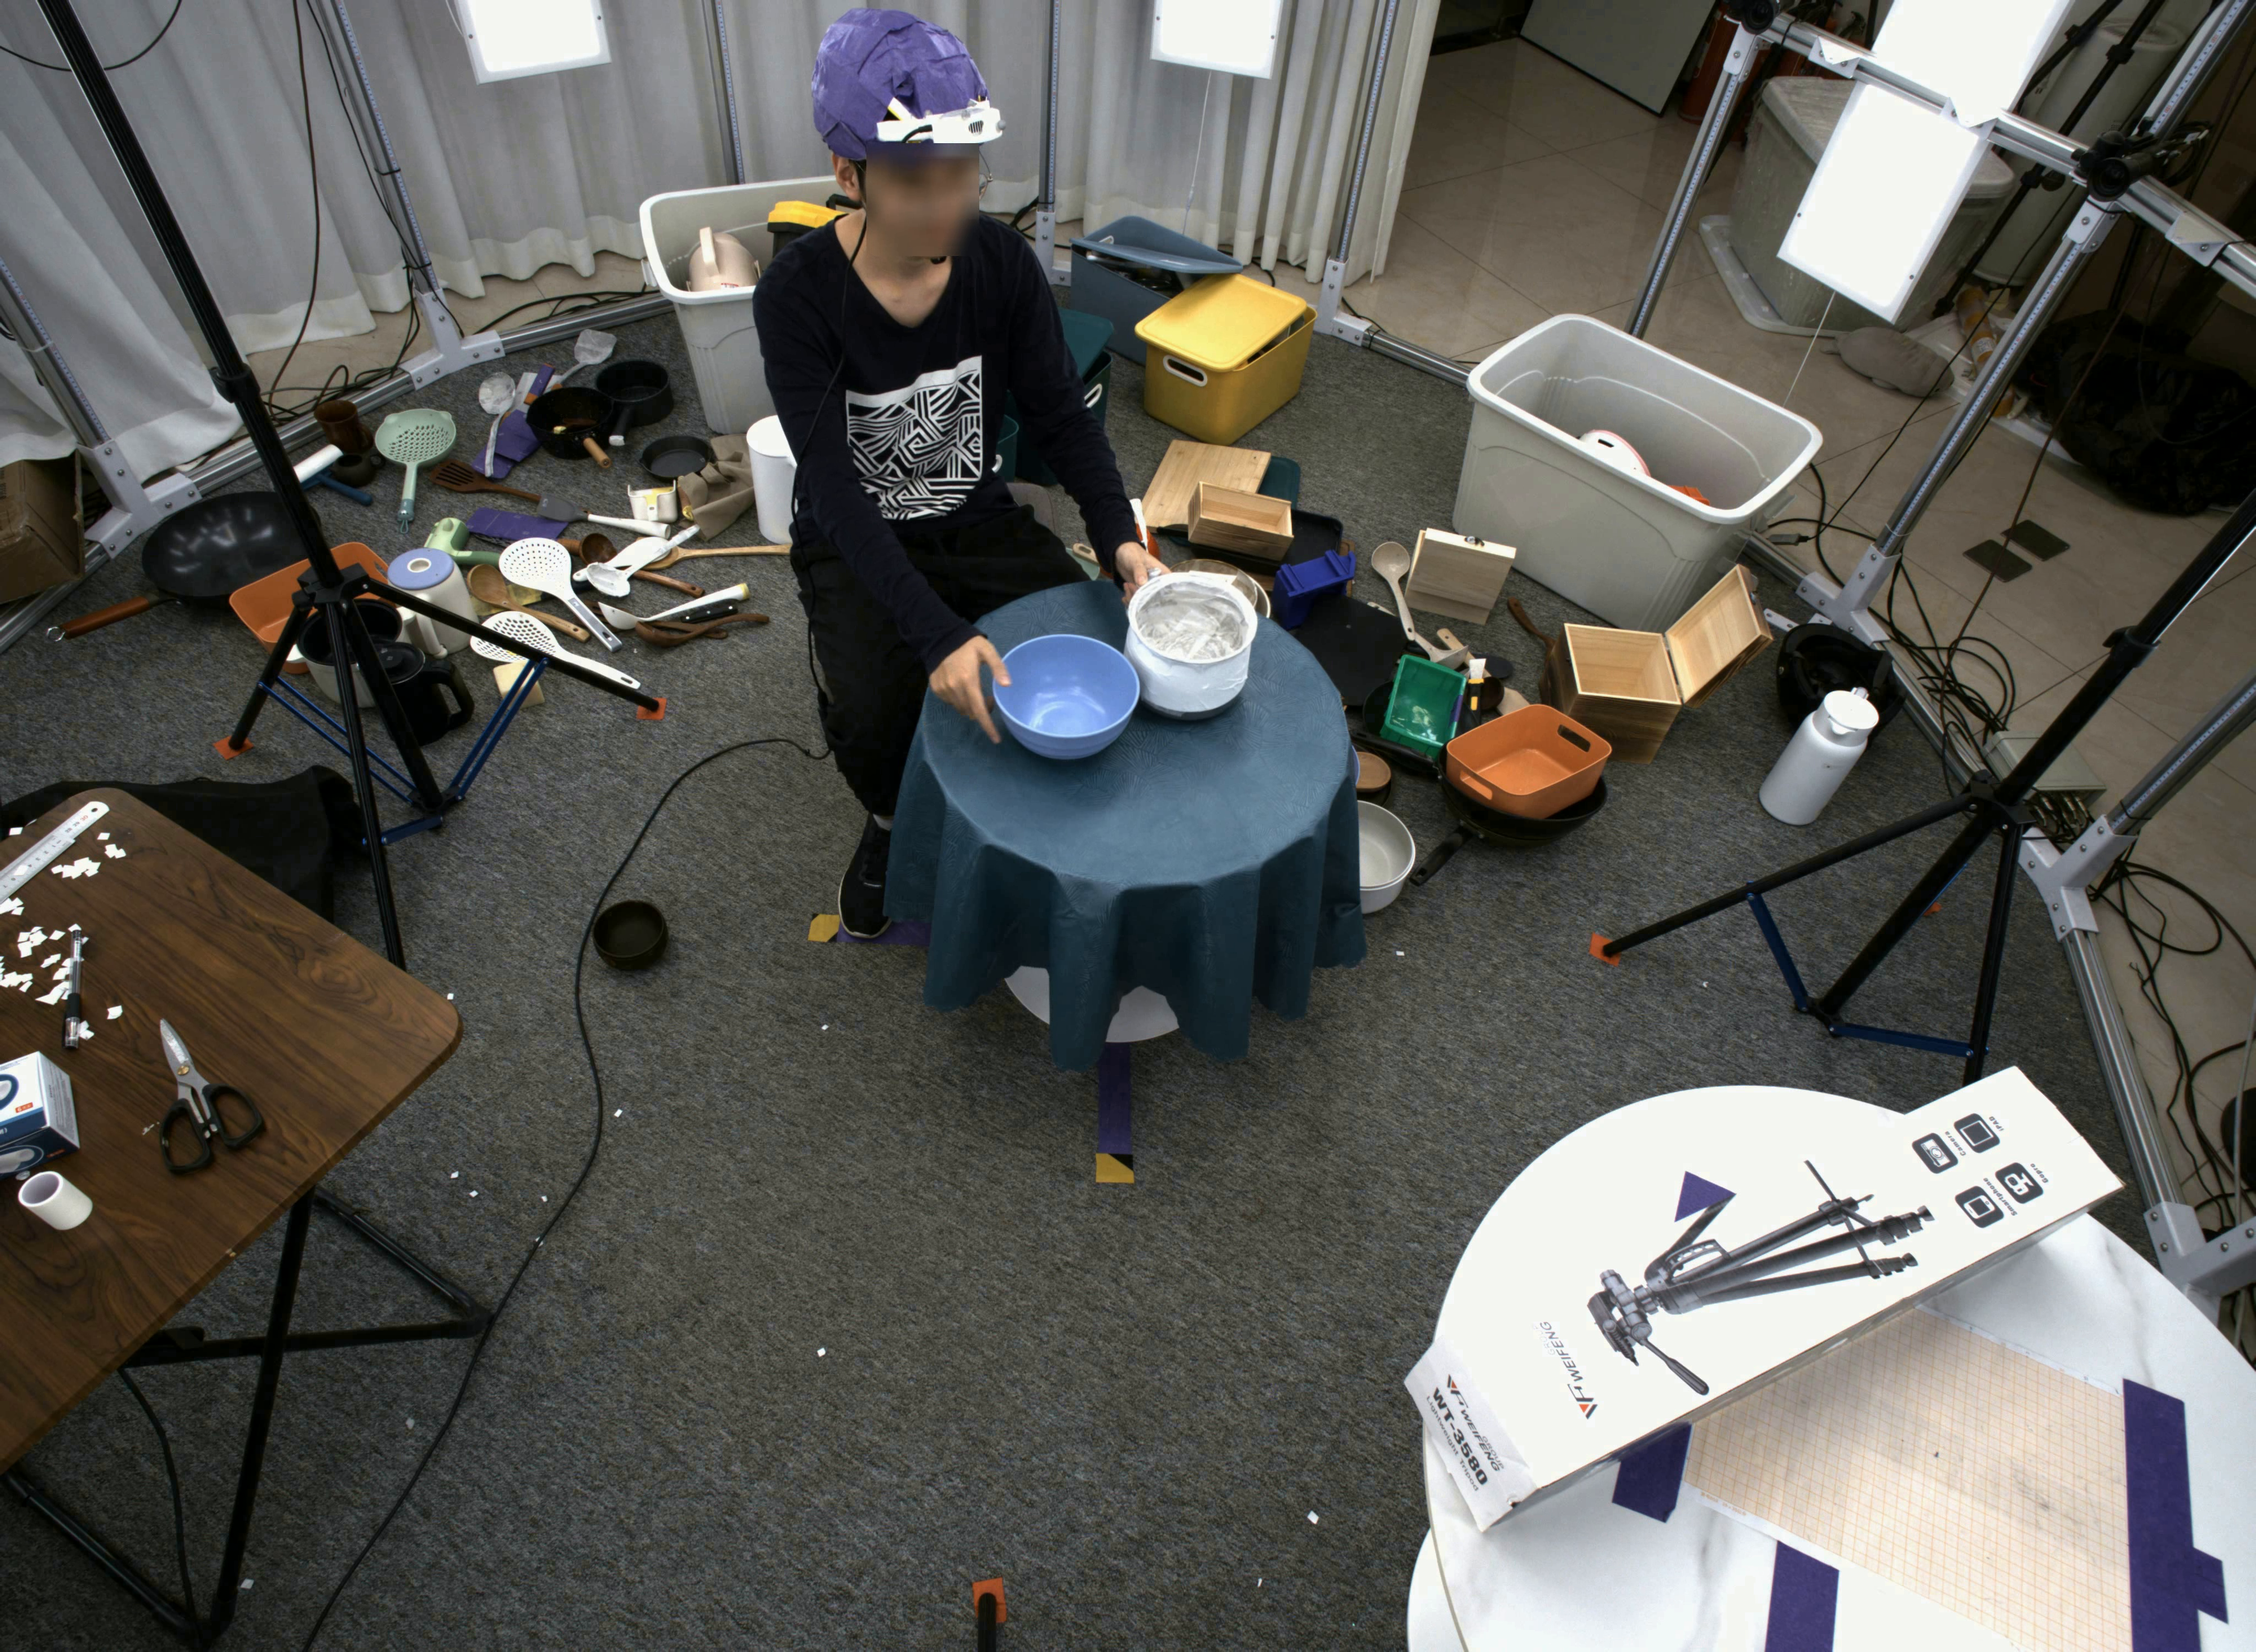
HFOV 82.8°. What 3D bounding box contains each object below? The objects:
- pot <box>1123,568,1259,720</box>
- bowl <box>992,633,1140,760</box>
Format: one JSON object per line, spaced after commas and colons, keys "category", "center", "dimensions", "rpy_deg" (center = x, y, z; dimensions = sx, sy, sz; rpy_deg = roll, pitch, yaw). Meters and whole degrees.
{"category": "pot", "center": [0.069, -0.266, 1.811], "dimensions": [0.179, 0.133, 0.238], "rpy_deg": [-22, 56, -24]}
{"category": "bowl", "center": [-0.084, -0.161, 1.737], "dimensions": [0.196, 0.093, 0.201], "rpy_deg": [2, 52, -2]}
